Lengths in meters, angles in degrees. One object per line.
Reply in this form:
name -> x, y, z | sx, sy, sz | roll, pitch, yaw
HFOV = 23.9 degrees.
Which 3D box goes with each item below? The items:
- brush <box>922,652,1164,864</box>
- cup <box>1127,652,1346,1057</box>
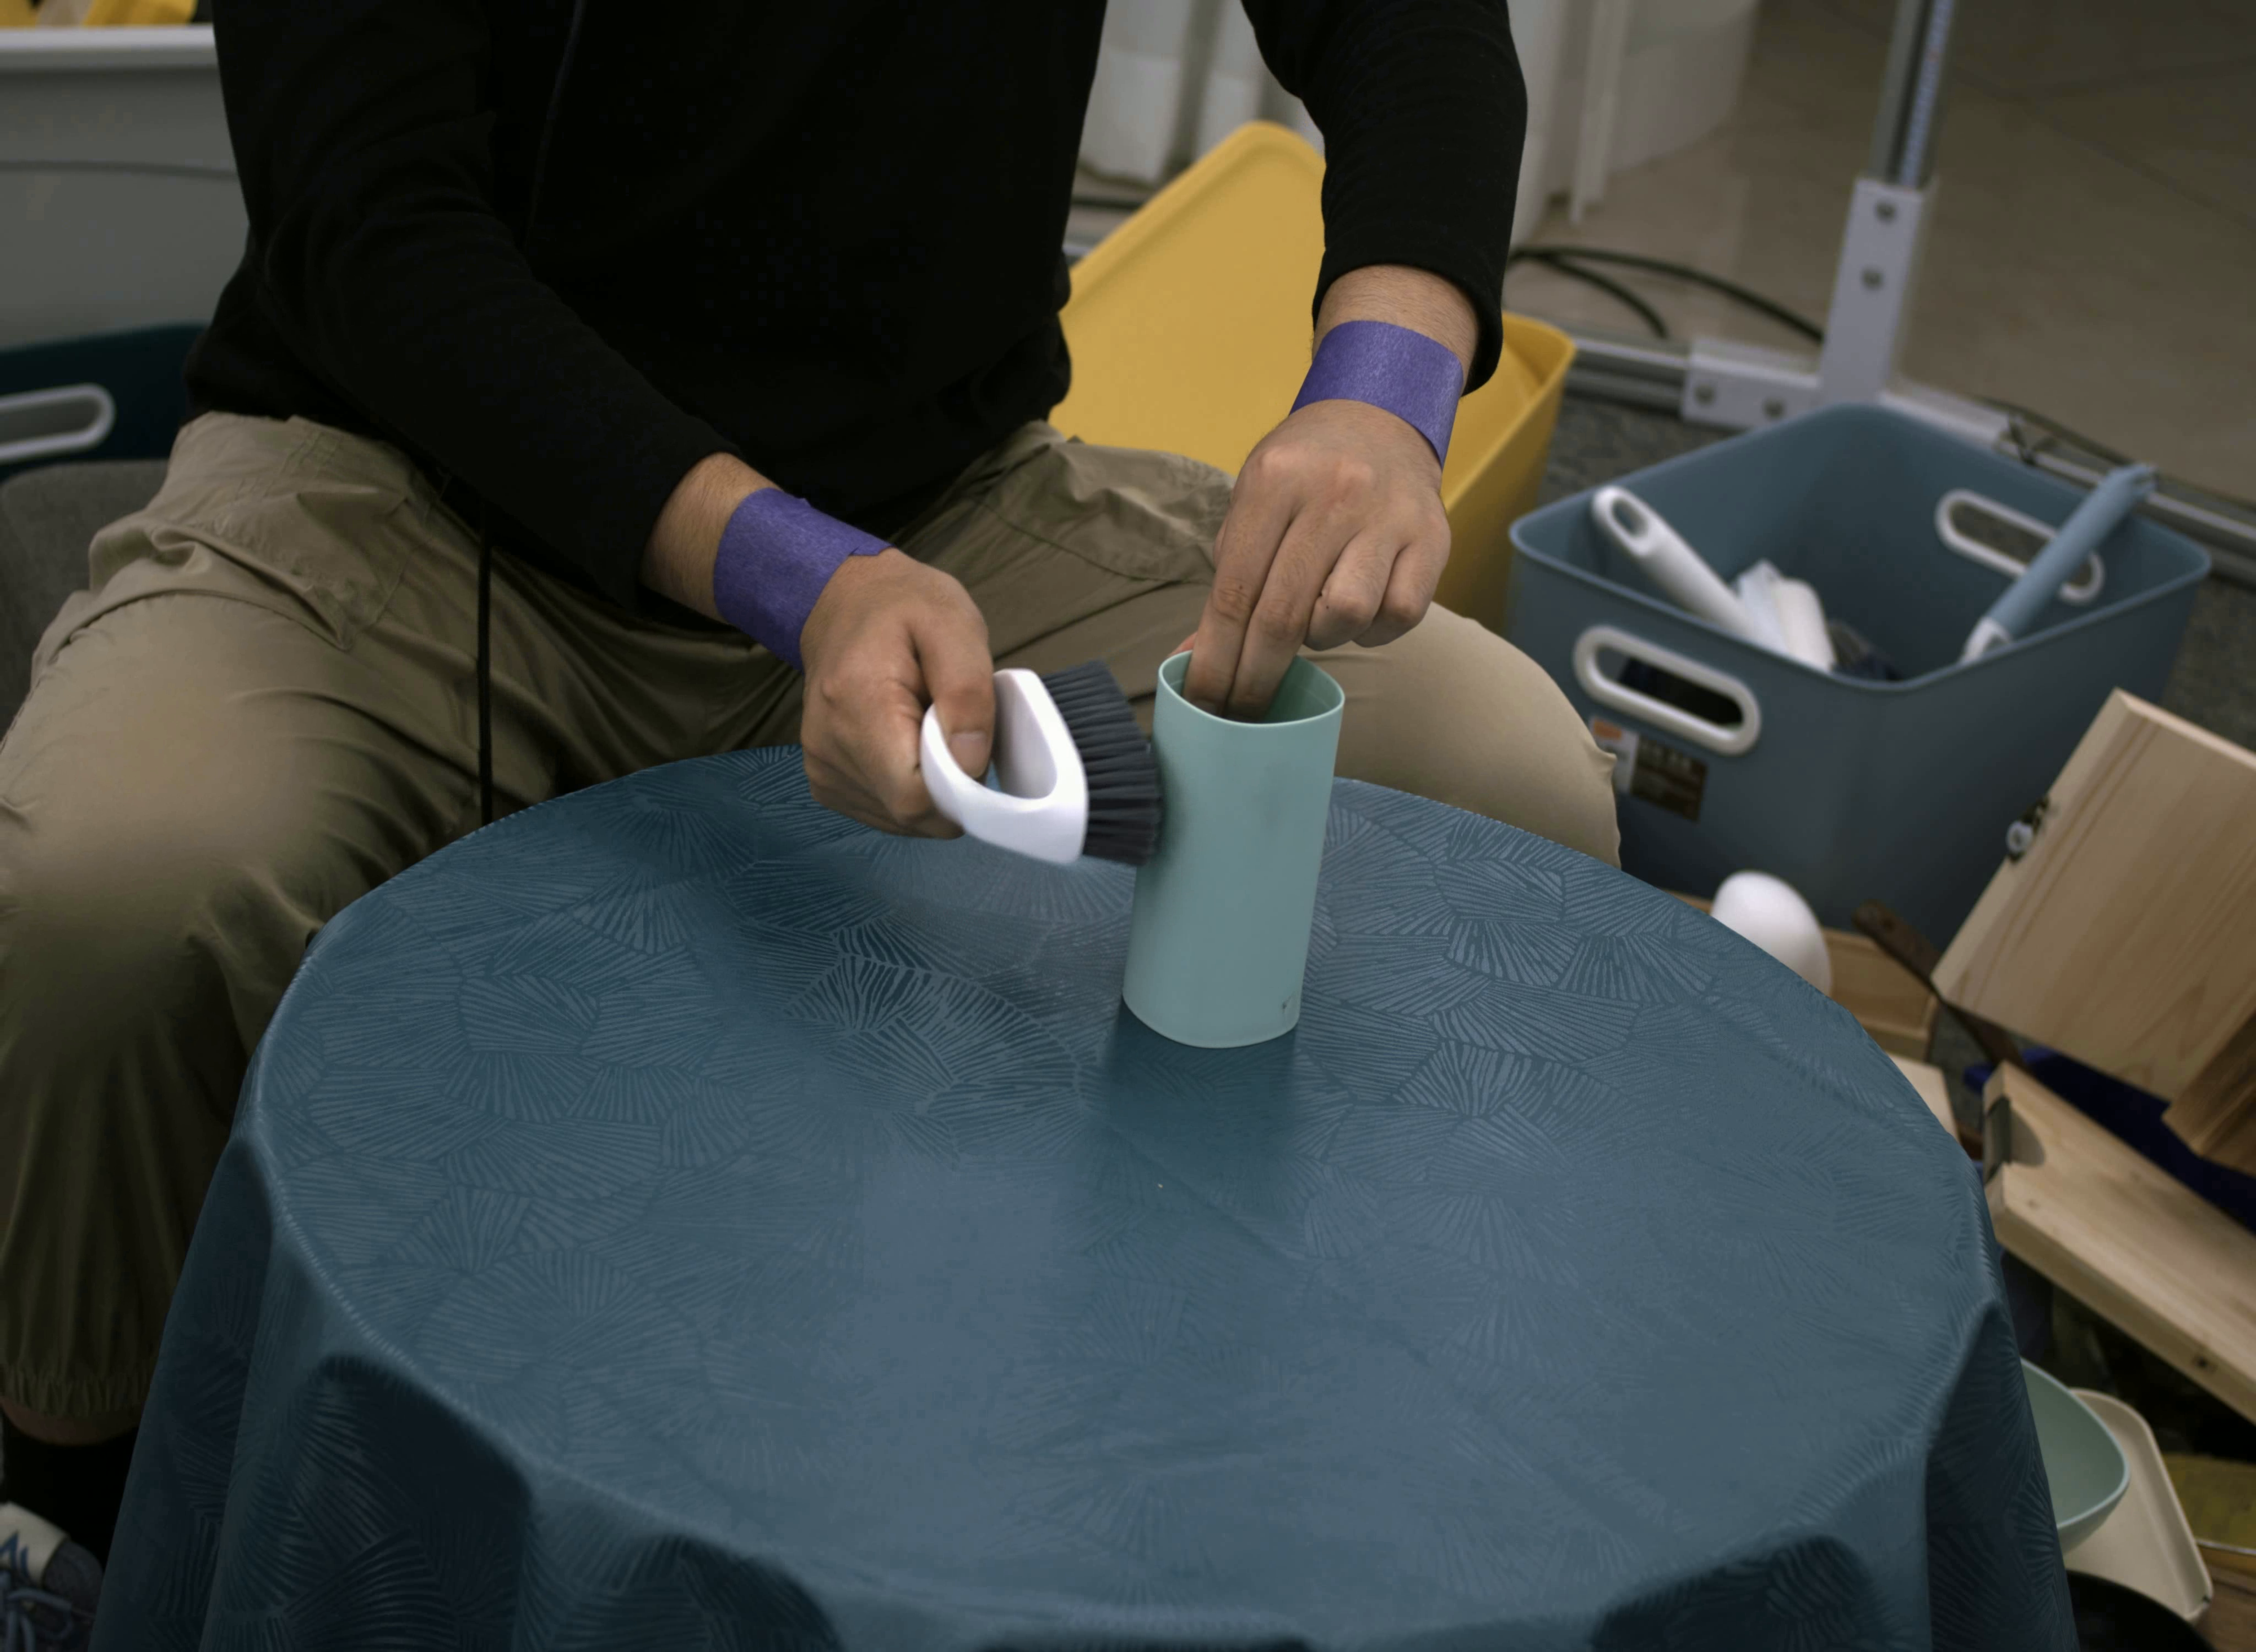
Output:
brush -> -0.035, -0.023, 1.887 | 0.072, 0.050, 0.100 | -3, 34, -18
cup -> 0.036, 0.010, 1.896 | 0.066, 0.132, 0.067 | 5, 27, -3
